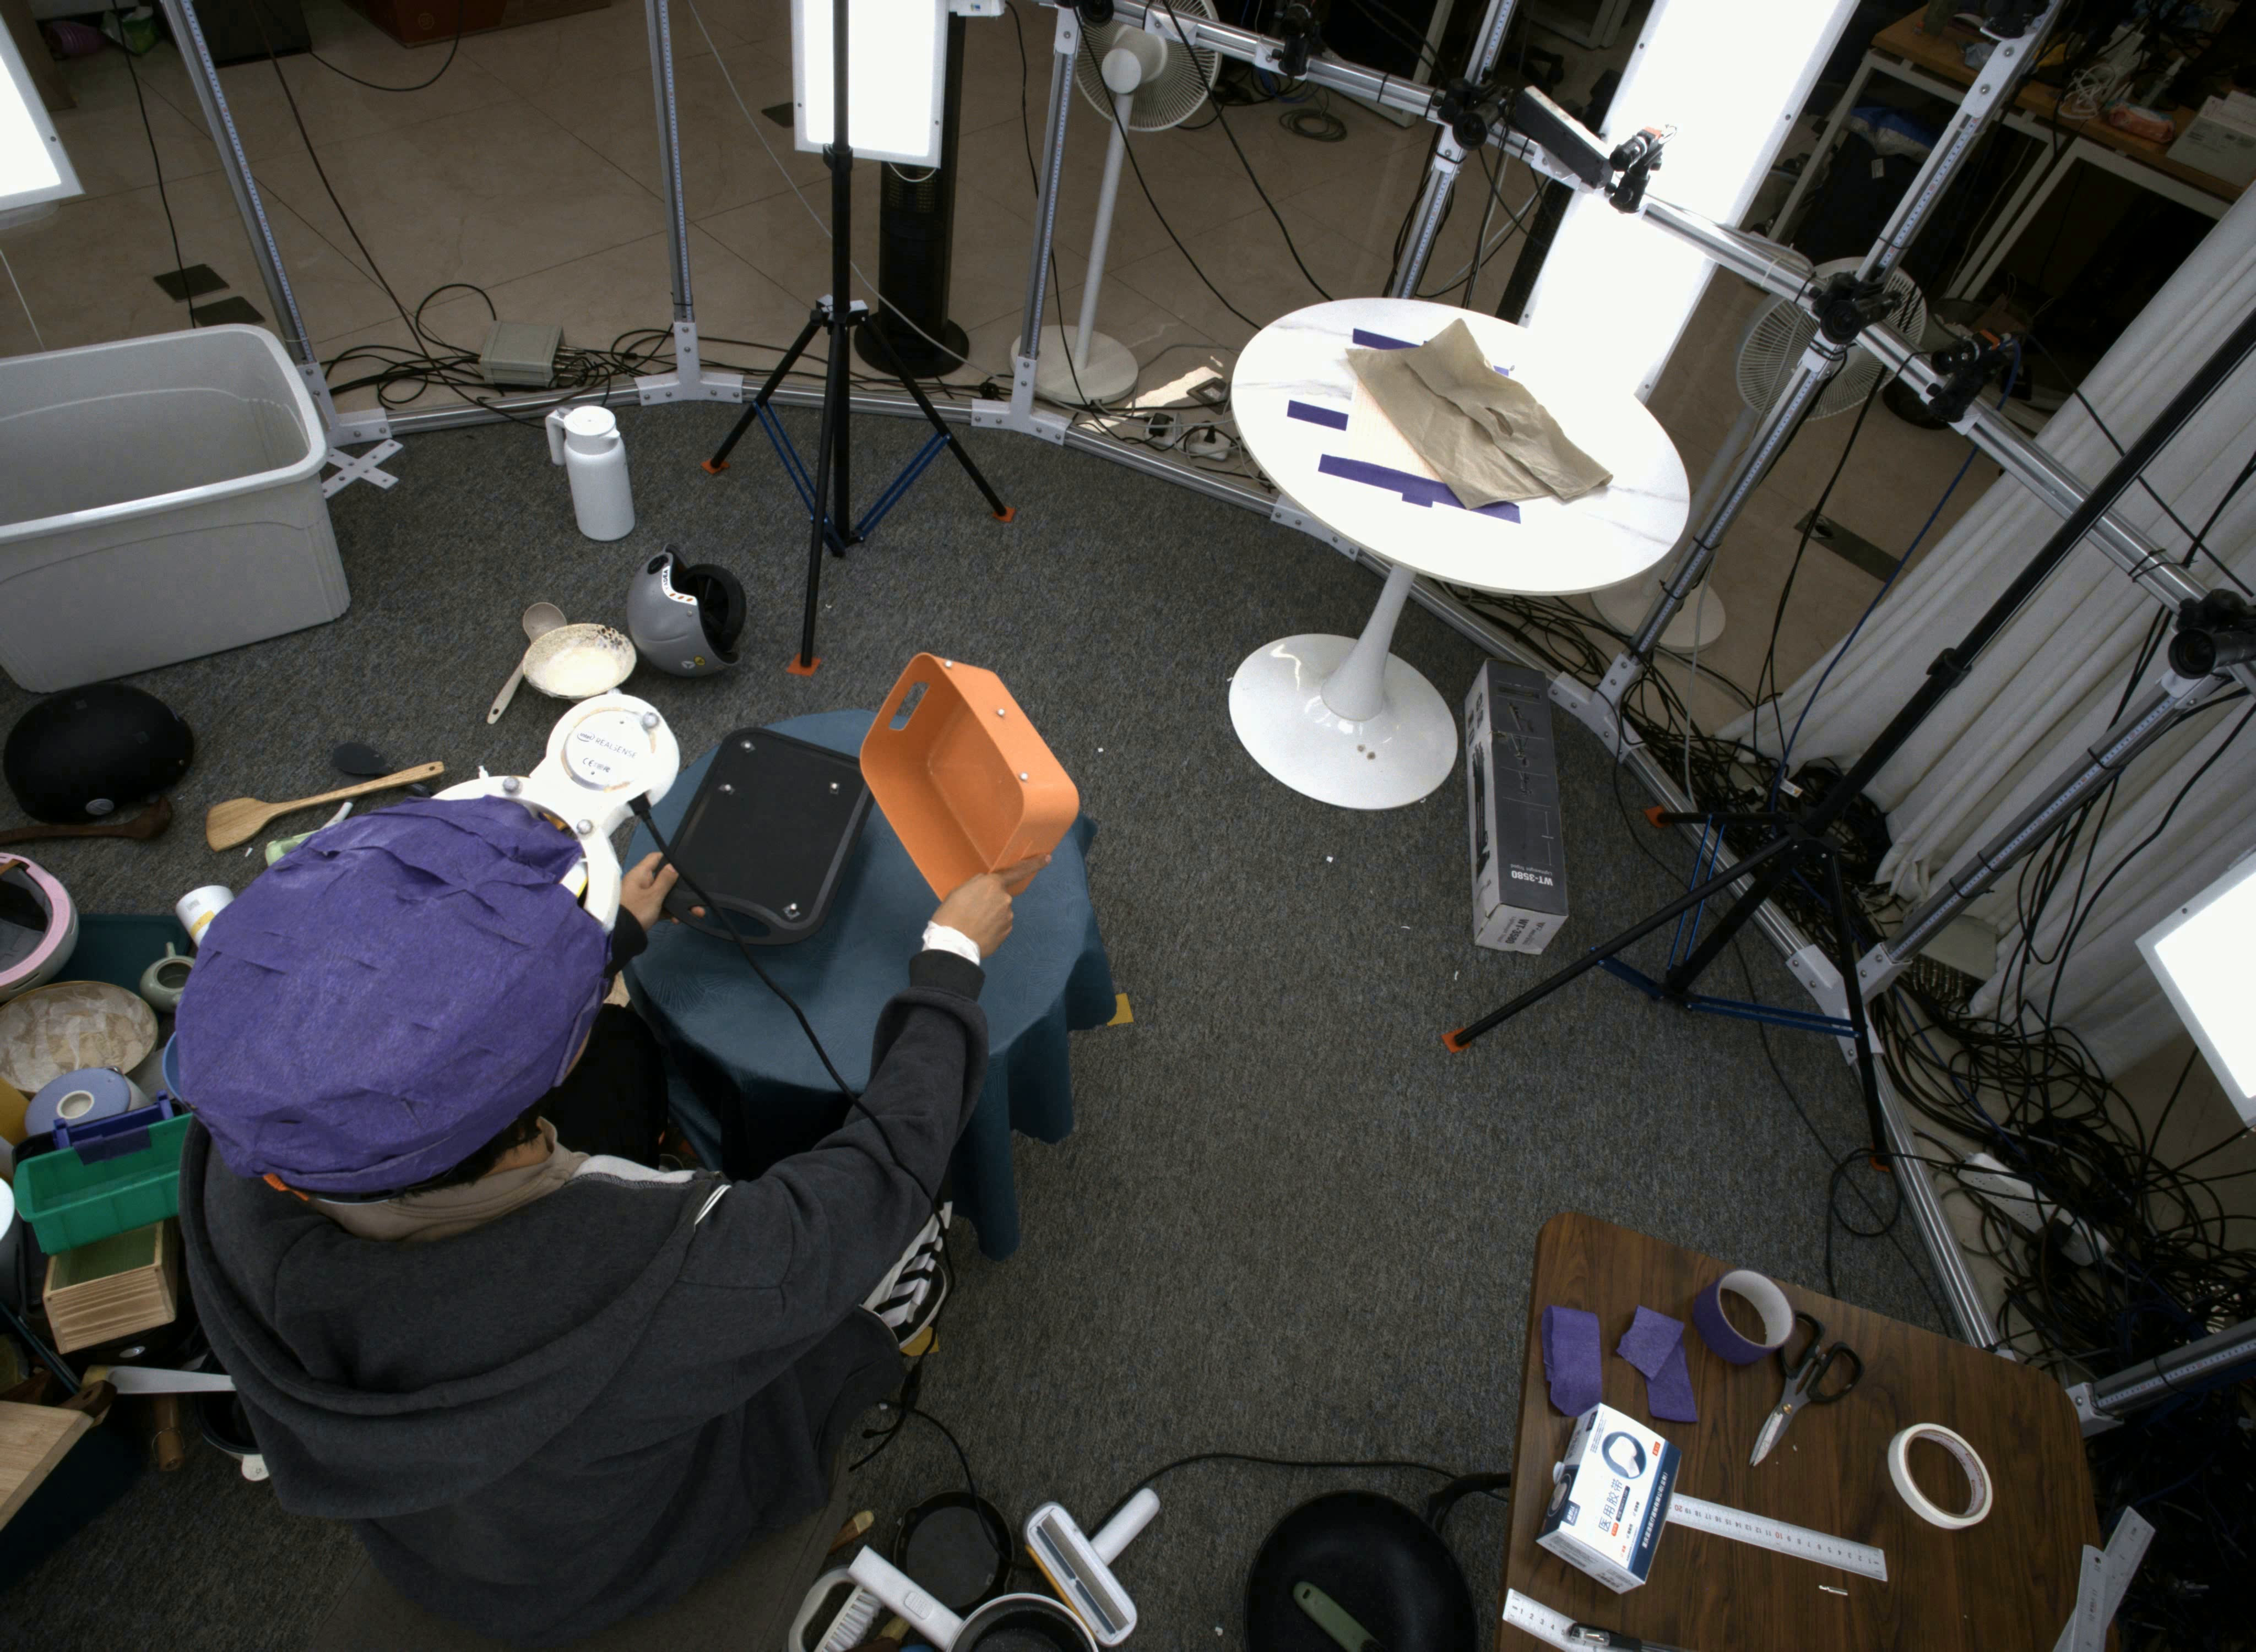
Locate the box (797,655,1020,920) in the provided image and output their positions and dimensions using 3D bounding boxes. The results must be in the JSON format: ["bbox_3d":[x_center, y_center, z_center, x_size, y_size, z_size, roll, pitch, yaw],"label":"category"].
[{"bbox_3d":[-0.251,-0.044,1.487,0.104,0.201,0.266,-4,47,-52],"label":"box"}]

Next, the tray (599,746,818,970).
[{"bbox_3d":[-0.505,0.033,1.563,0.211,0.010,0.320,15,50,-9],"label":"tray"}]
